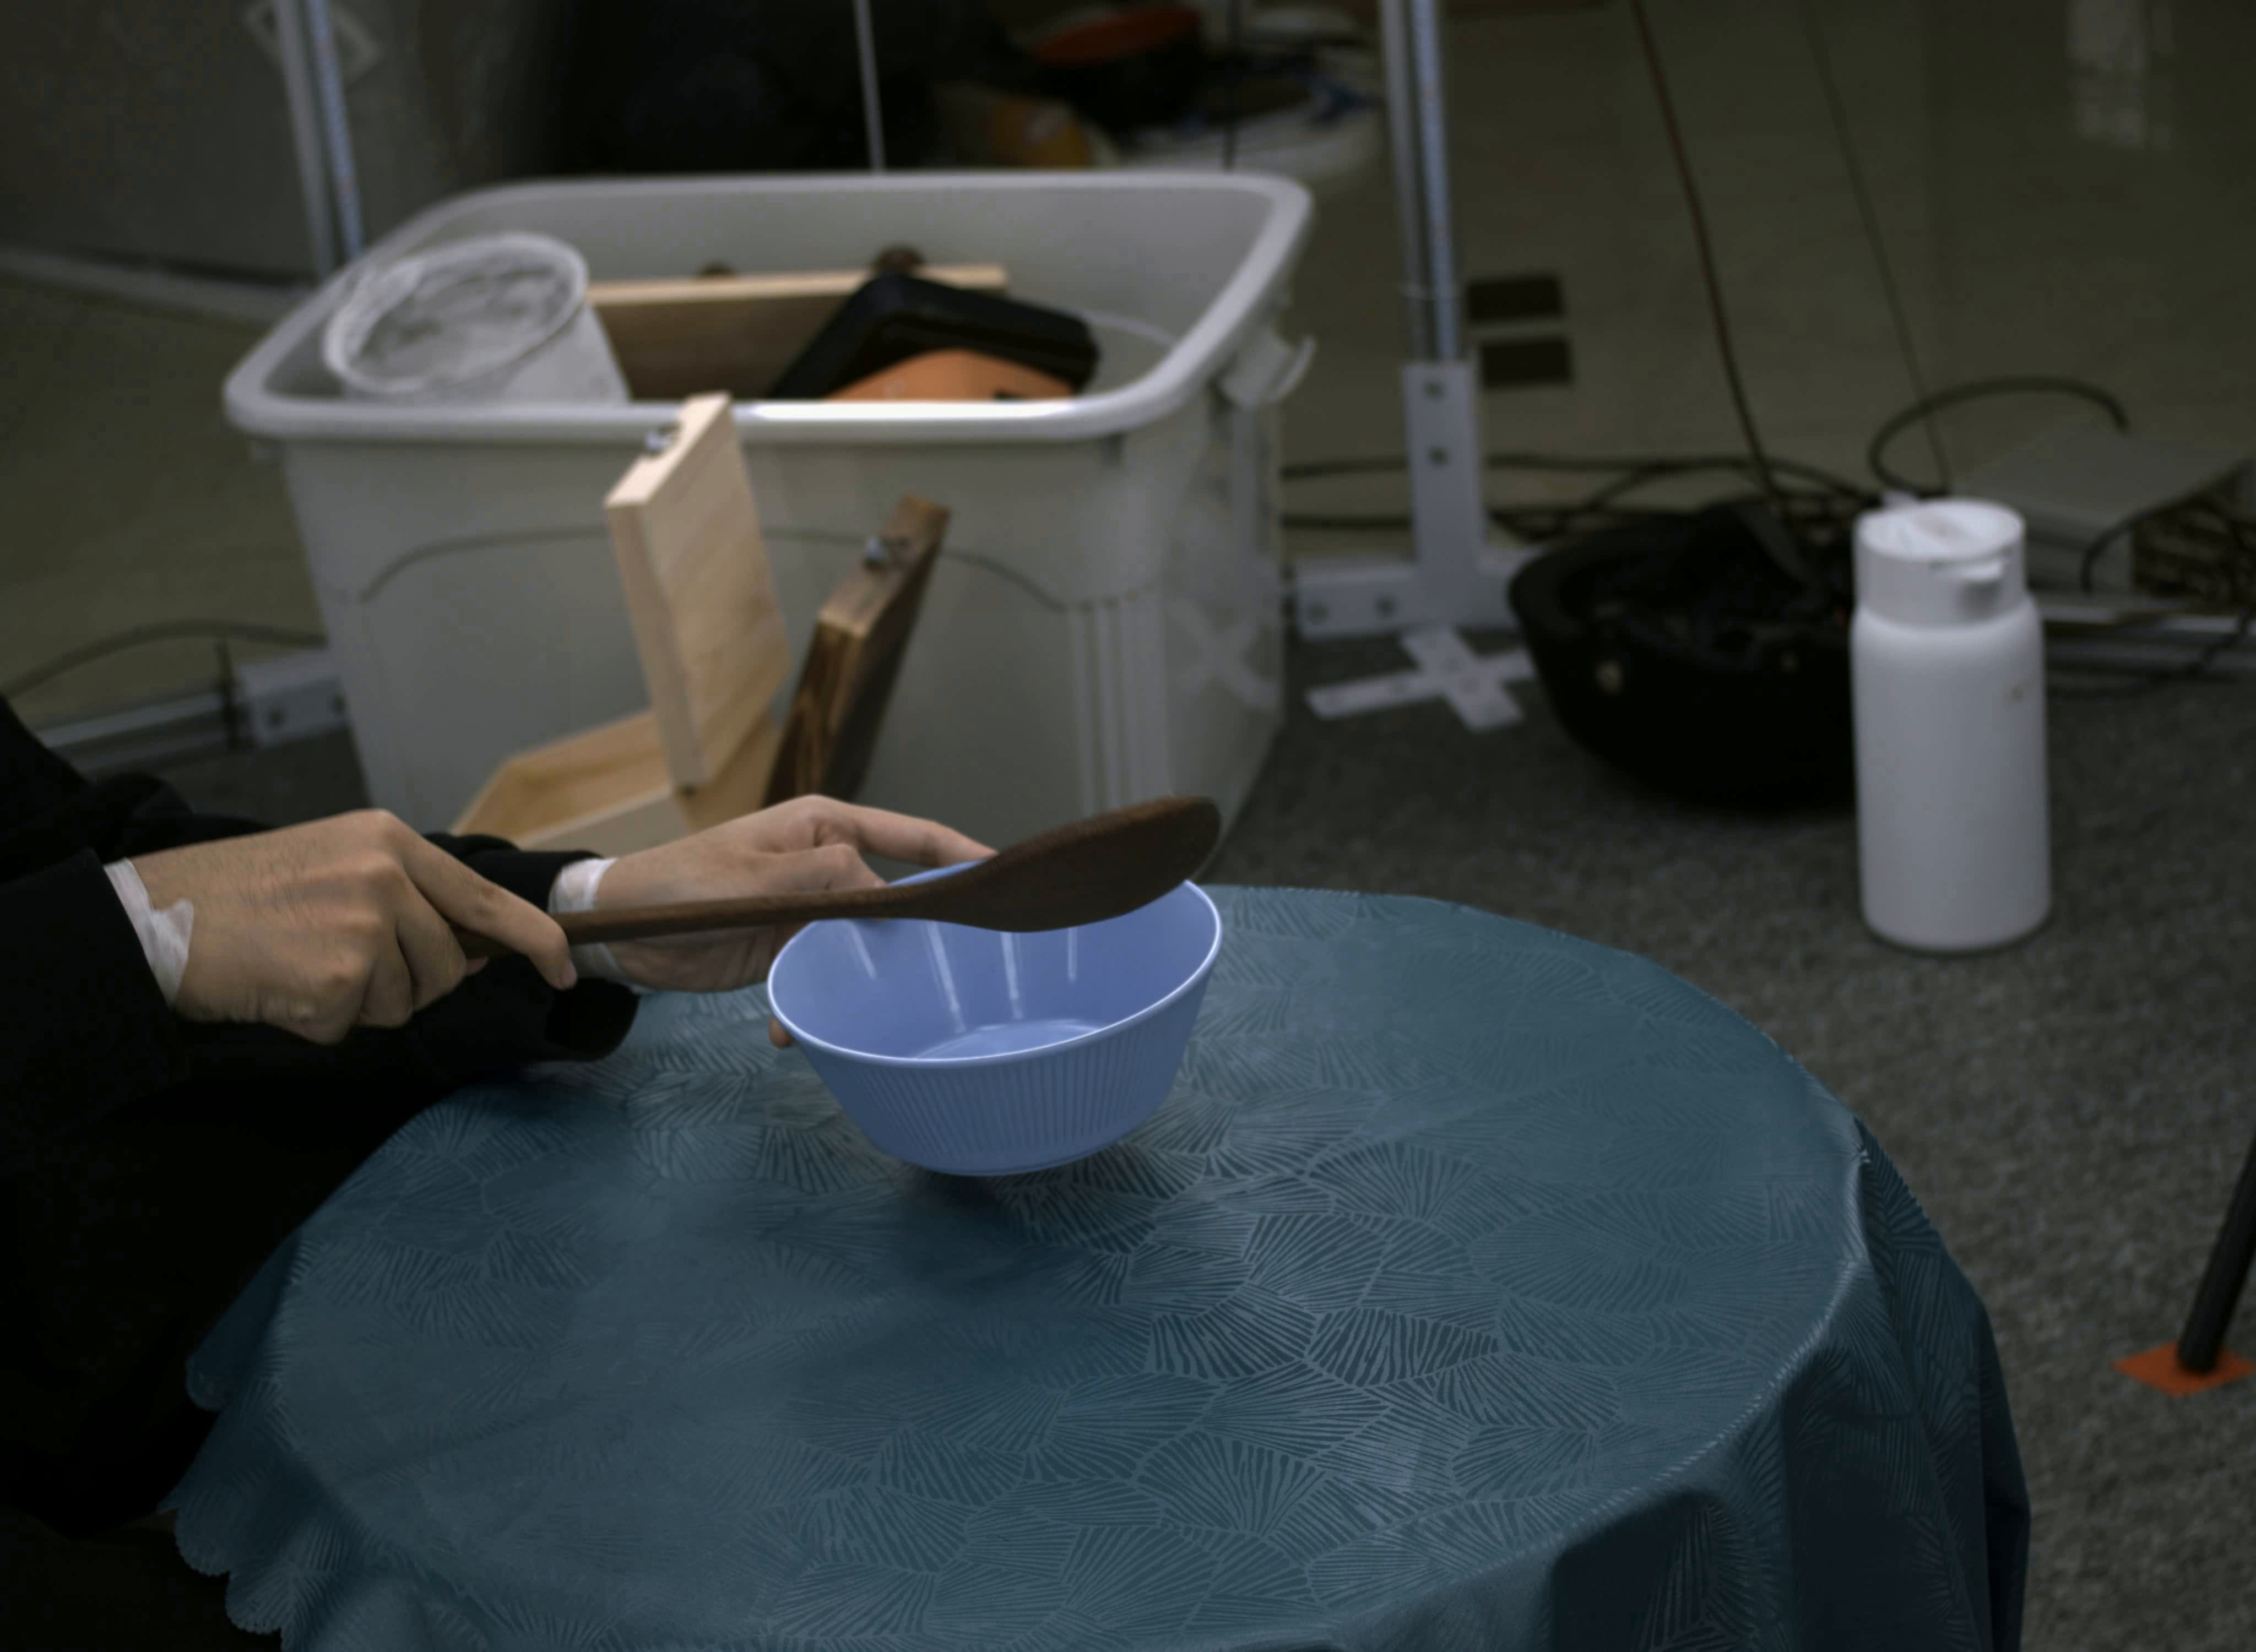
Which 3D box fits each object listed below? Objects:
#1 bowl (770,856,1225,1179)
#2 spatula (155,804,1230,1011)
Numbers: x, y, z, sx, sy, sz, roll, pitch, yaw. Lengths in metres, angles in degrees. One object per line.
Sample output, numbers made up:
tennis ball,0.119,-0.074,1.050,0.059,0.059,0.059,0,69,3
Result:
bowl,-0.045,0.079,2.165,0.176,0.071,0.173,-8,24,4
spatula,-0.151,0.034,2.003,0.385,0.097,0.015,-6,70,-14
